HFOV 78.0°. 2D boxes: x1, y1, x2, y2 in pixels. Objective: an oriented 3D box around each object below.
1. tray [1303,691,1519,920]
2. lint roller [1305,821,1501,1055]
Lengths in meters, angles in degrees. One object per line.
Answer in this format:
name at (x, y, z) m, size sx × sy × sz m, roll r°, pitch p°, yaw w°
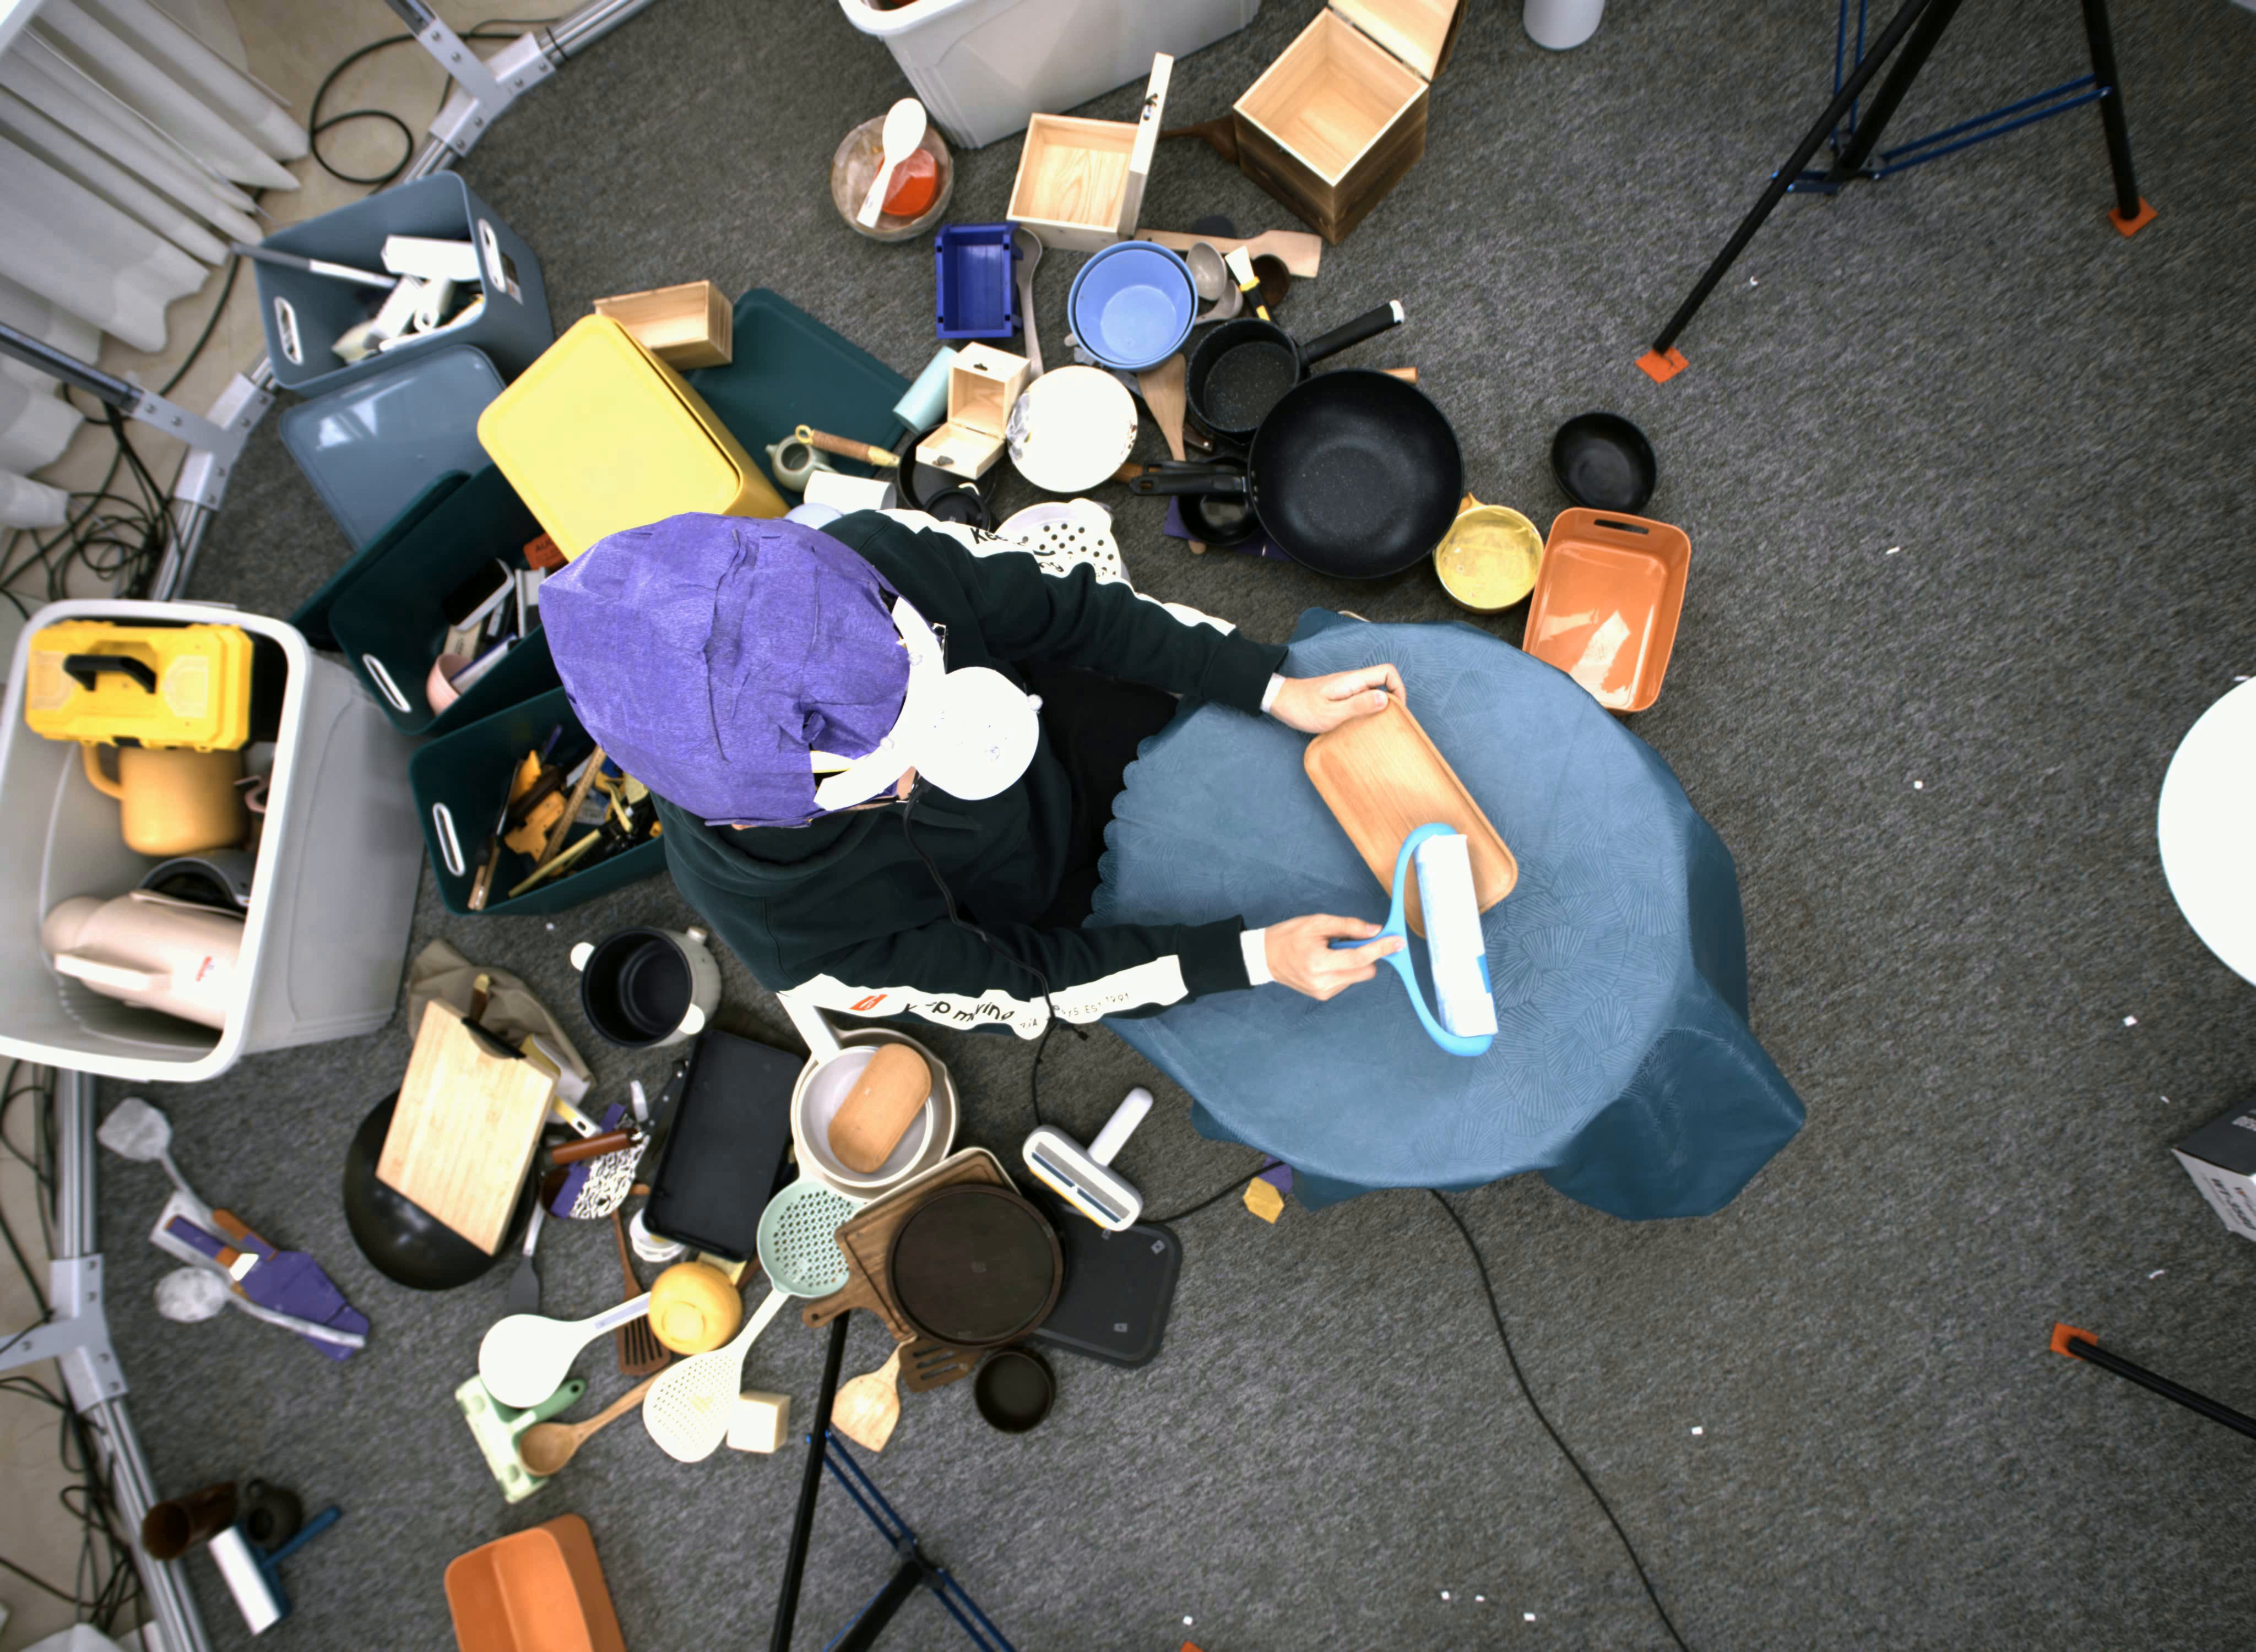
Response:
tray at (0.284, -0.012, 1.393) m, size 0.133 × 0.022 × 0.248 m, roll -40°, pitch 72°, yaw 28°
lint roller at (0.259, 0.119, 1.345) m, size 0.181 × 0.068 × 0.227 m, roll -13°, pitch 83°, yaw 12°
